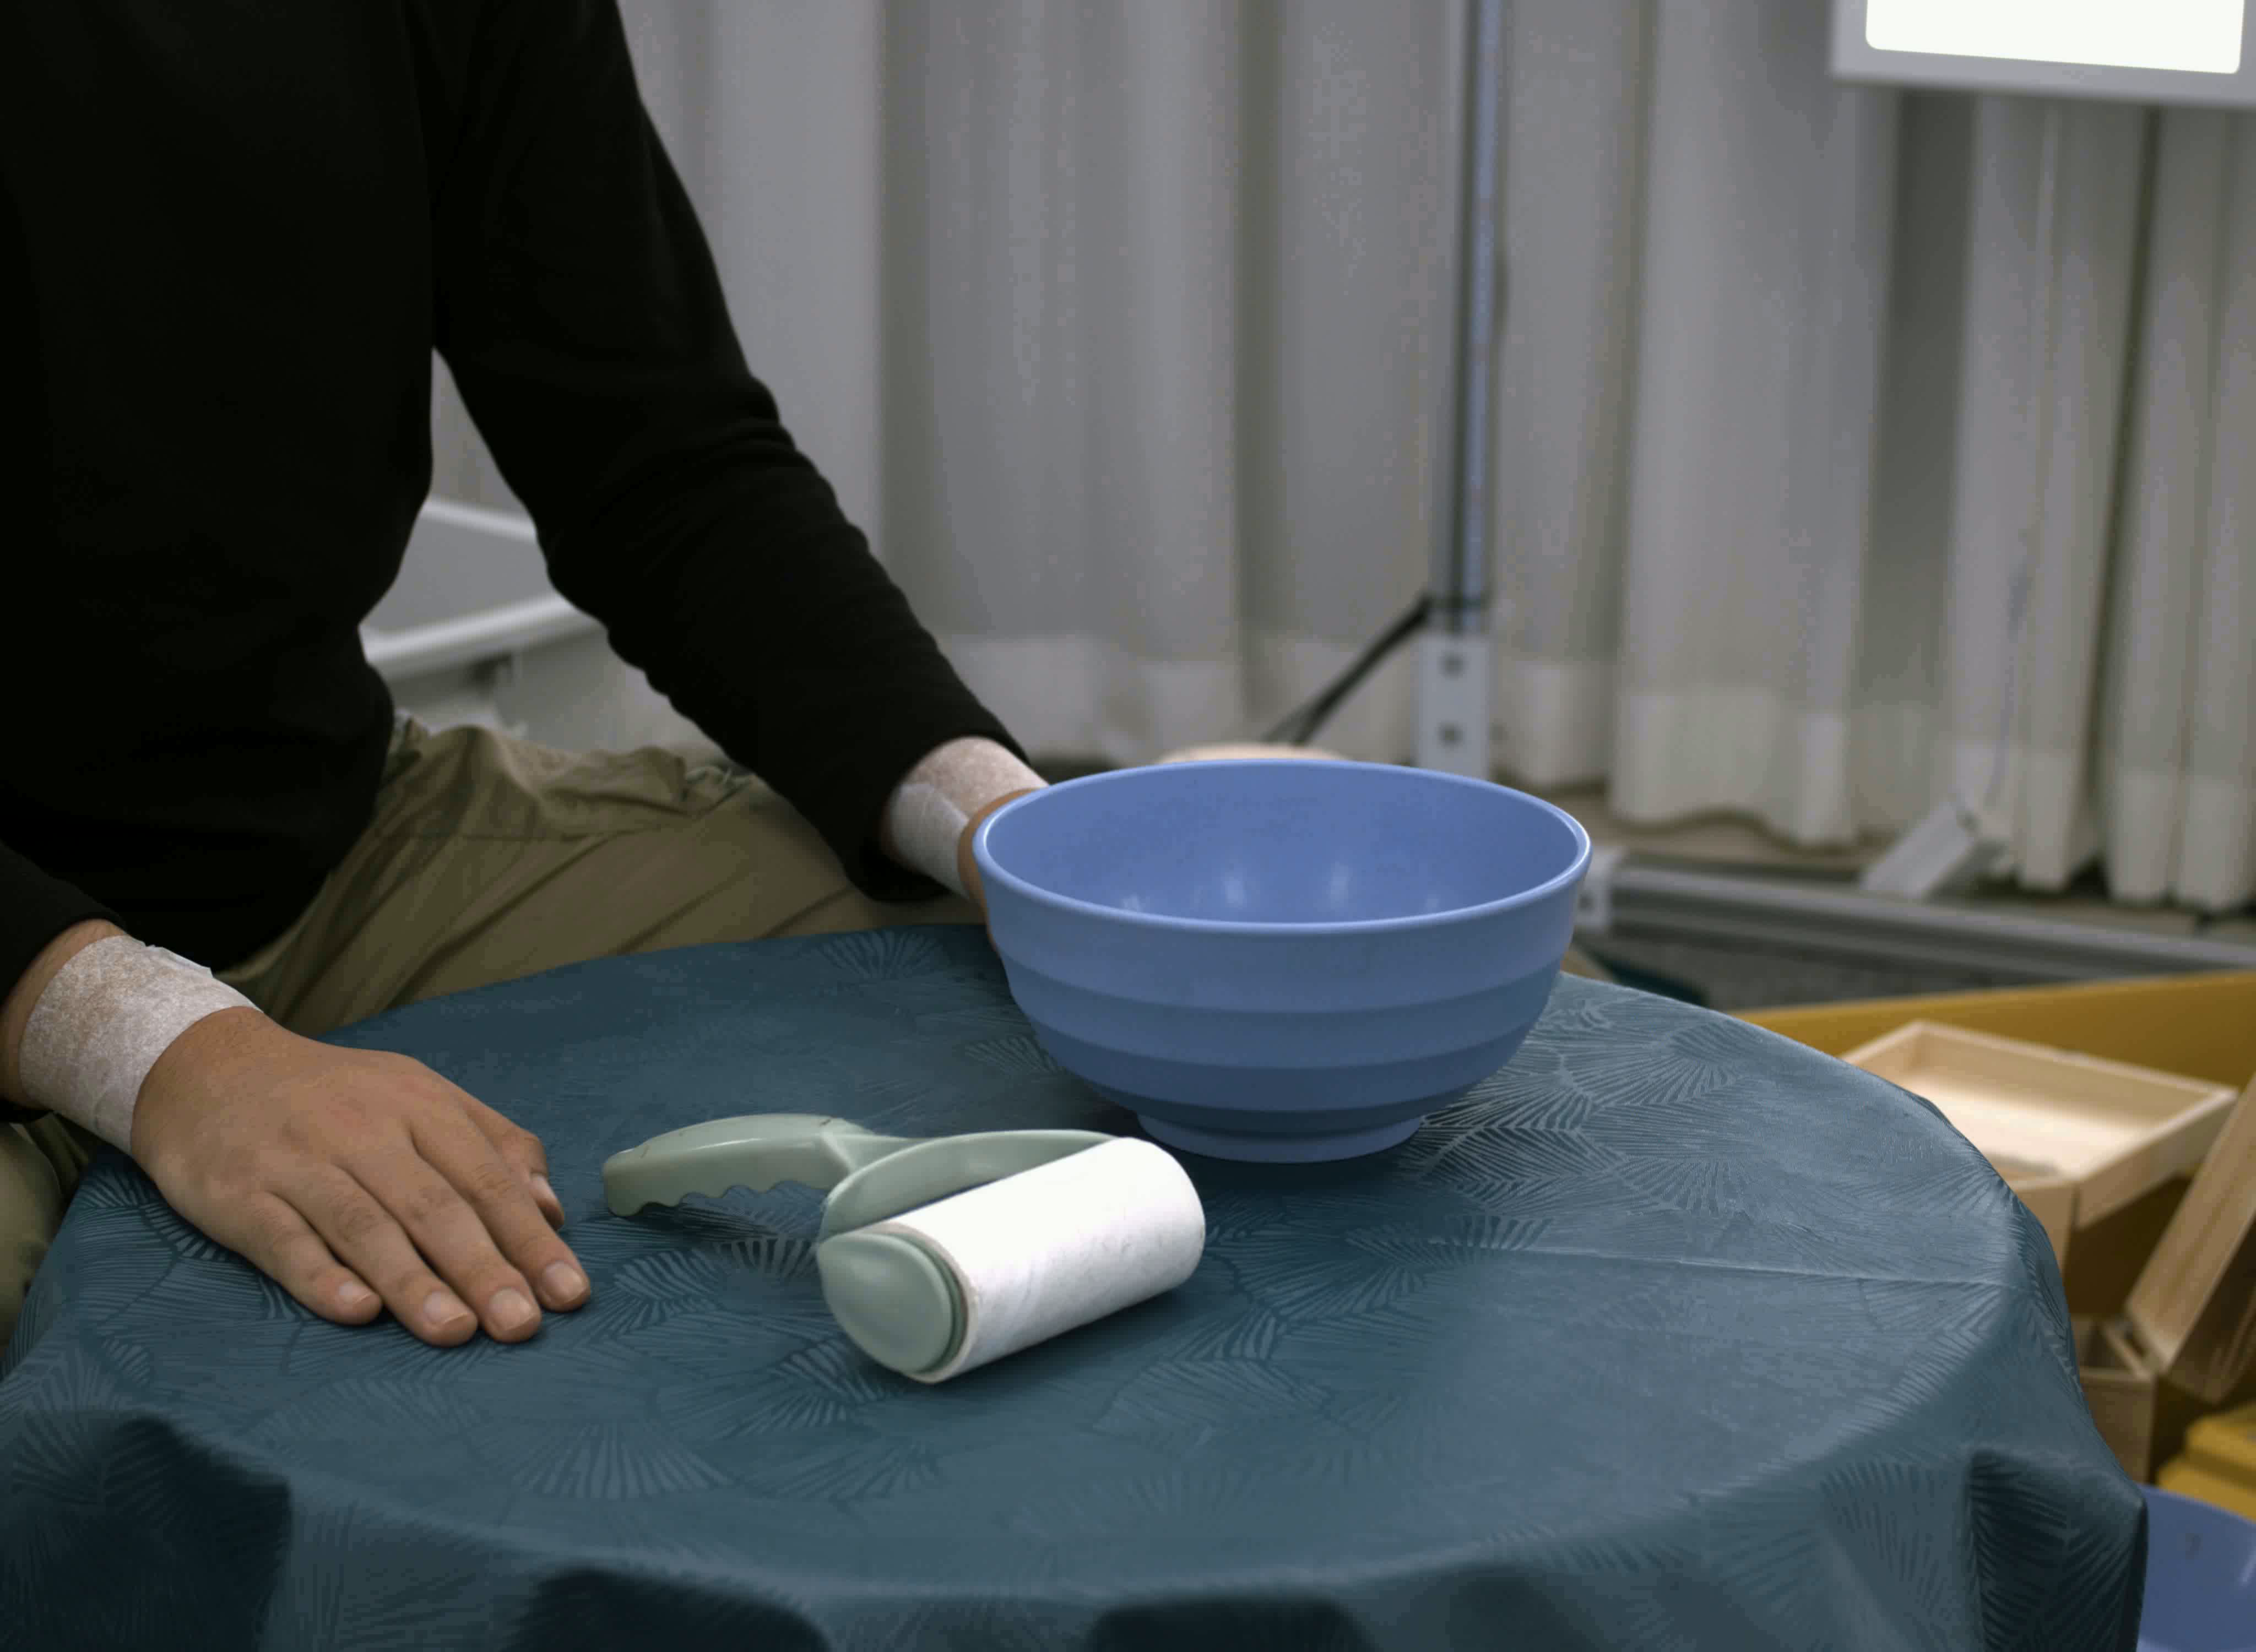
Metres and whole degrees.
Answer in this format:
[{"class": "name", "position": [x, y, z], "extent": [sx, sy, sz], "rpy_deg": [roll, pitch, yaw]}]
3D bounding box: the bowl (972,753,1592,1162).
[{"class": "bowl", "position": [0.049, 0.047, 1.676], "extent": [0.196, 0.096, 0.195], "rpy_deg": [0, 17, 1]}]

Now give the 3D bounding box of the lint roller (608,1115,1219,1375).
[{"class": "lint roller", "position": [-0.078, 0.109, 1.547], "extent": [0.195, 0.049, 0.117], "rpy_deg": [12, 21, 39]}]
